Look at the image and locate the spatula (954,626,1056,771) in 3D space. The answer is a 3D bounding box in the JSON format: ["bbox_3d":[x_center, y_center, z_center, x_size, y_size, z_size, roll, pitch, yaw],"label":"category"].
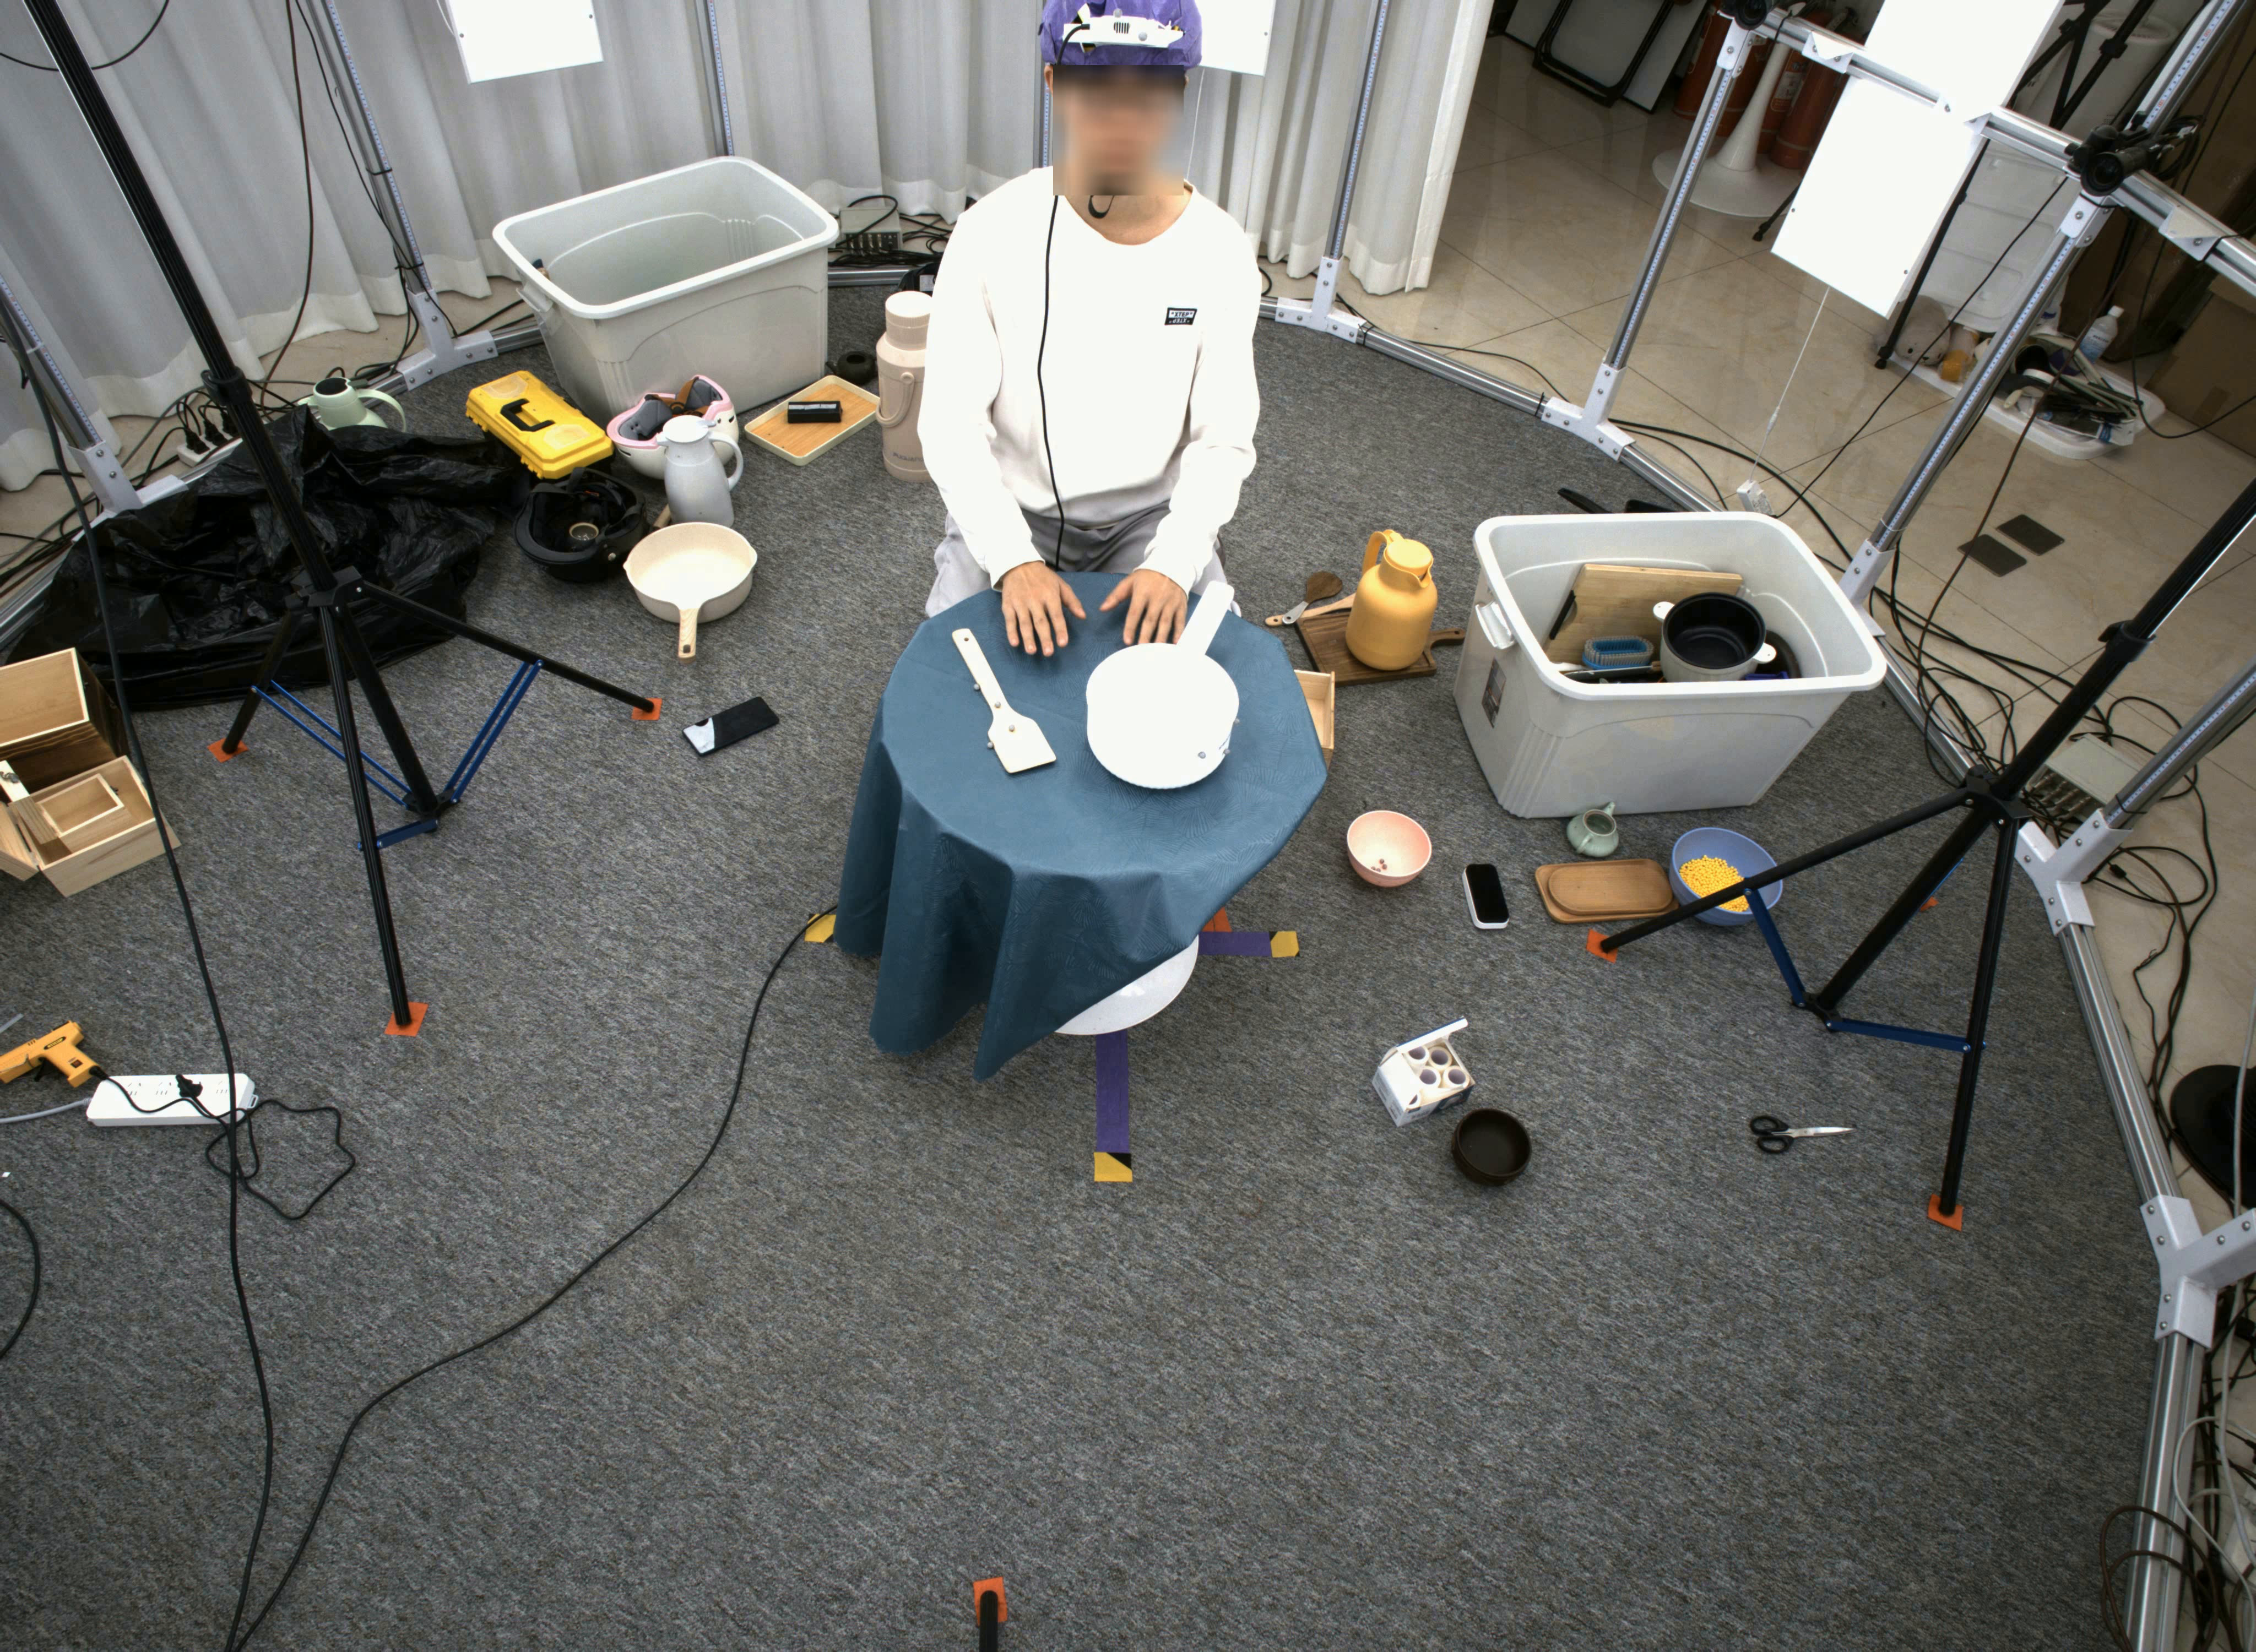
[{"bbox_3d":[-0.187,-0.186,1.806,0.072,0.010,0.300,-17,52,-17],"label":"spatula"}]

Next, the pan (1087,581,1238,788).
[{"bbox_3d":[0.071,-0.198,1.776,0.202,0.099,0.362,18,50,11],"label":"pan"}]
